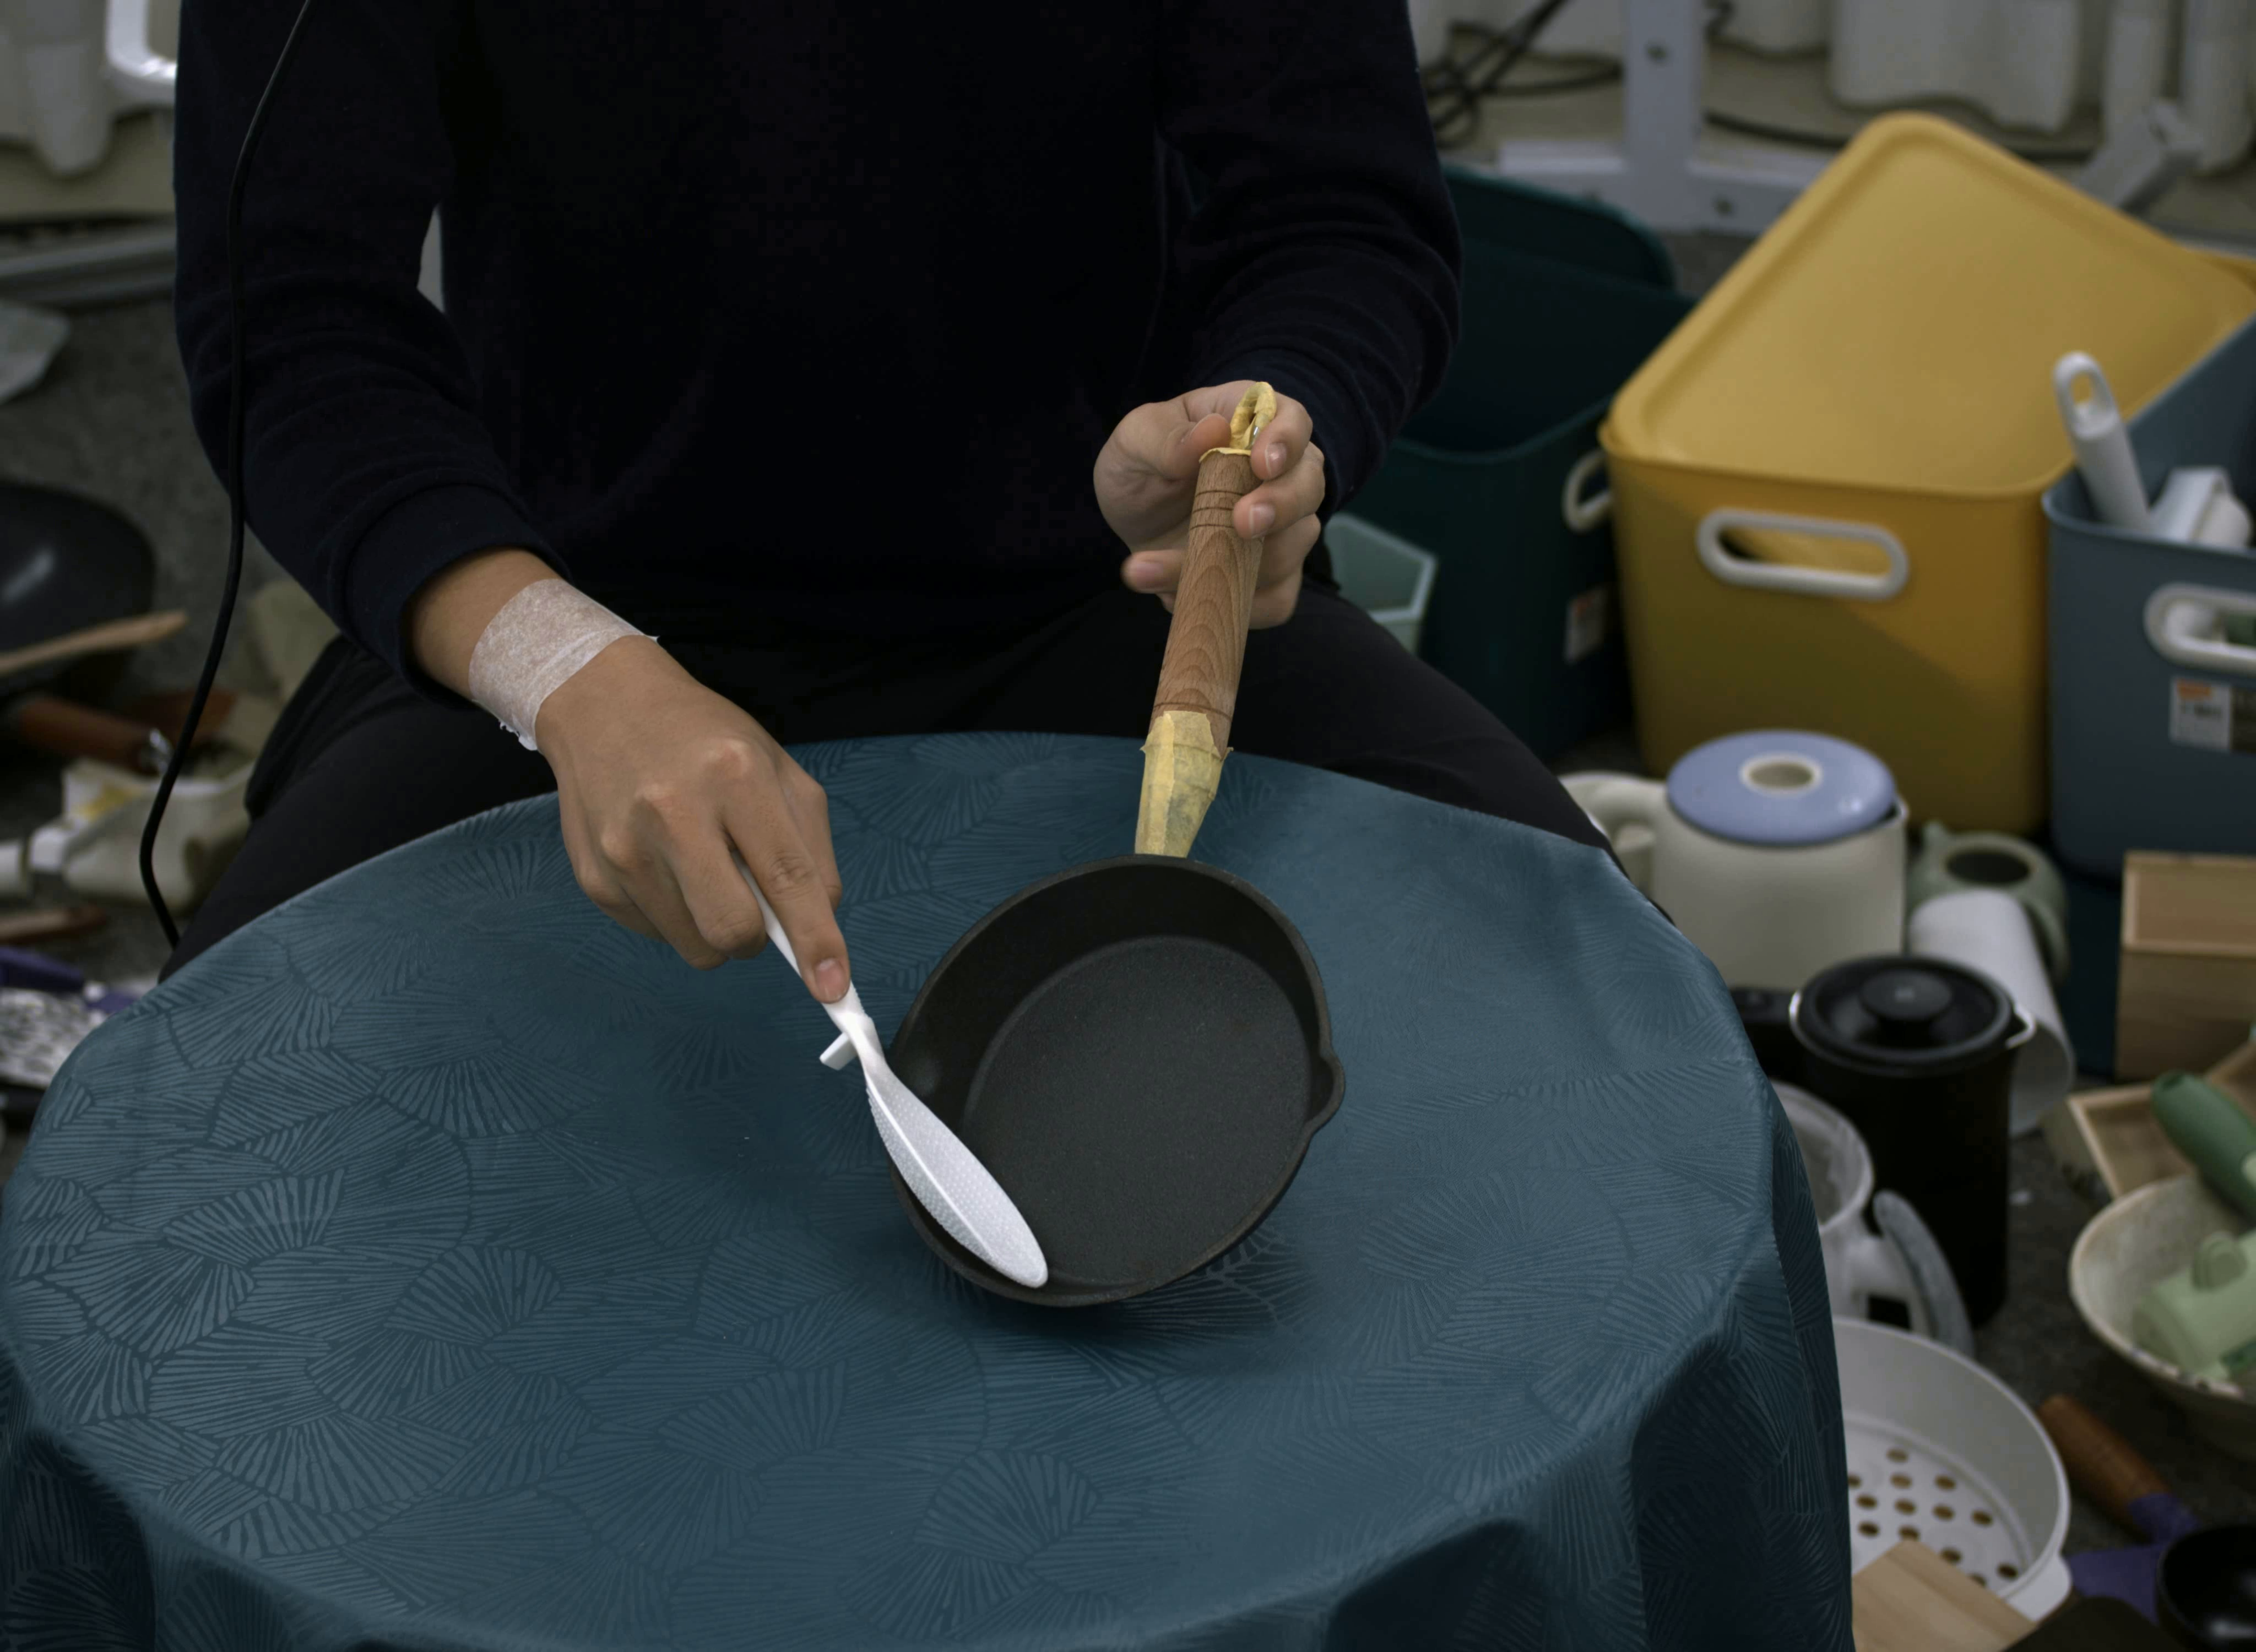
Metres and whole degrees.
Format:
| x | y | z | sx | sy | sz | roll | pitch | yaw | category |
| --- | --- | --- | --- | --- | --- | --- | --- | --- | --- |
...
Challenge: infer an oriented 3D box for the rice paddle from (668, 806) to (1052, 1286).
| x | y | z | sx | sy | sz | roll | pitch | yaw | category |
| --- | --- | --- | --- | --- | --- | --- | --- | --- | --- |
| -0.084 | 0.074 | 1.833 | 0.207 | 0.029 | 0.068 | 51 | 9 | 29 | rice paddle |

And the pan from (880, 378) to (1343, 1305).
| x | y | z | sx | sy | sz | roll | pitch | yaw | category |
| --- | --- | --- | --- | --- | --- | --- | --- | --- | --- |
| 0.015 | 0.006 | 1.845 | 0.167 | 0.049 | 0.329 | 4 | 67 | 27 | pan |
